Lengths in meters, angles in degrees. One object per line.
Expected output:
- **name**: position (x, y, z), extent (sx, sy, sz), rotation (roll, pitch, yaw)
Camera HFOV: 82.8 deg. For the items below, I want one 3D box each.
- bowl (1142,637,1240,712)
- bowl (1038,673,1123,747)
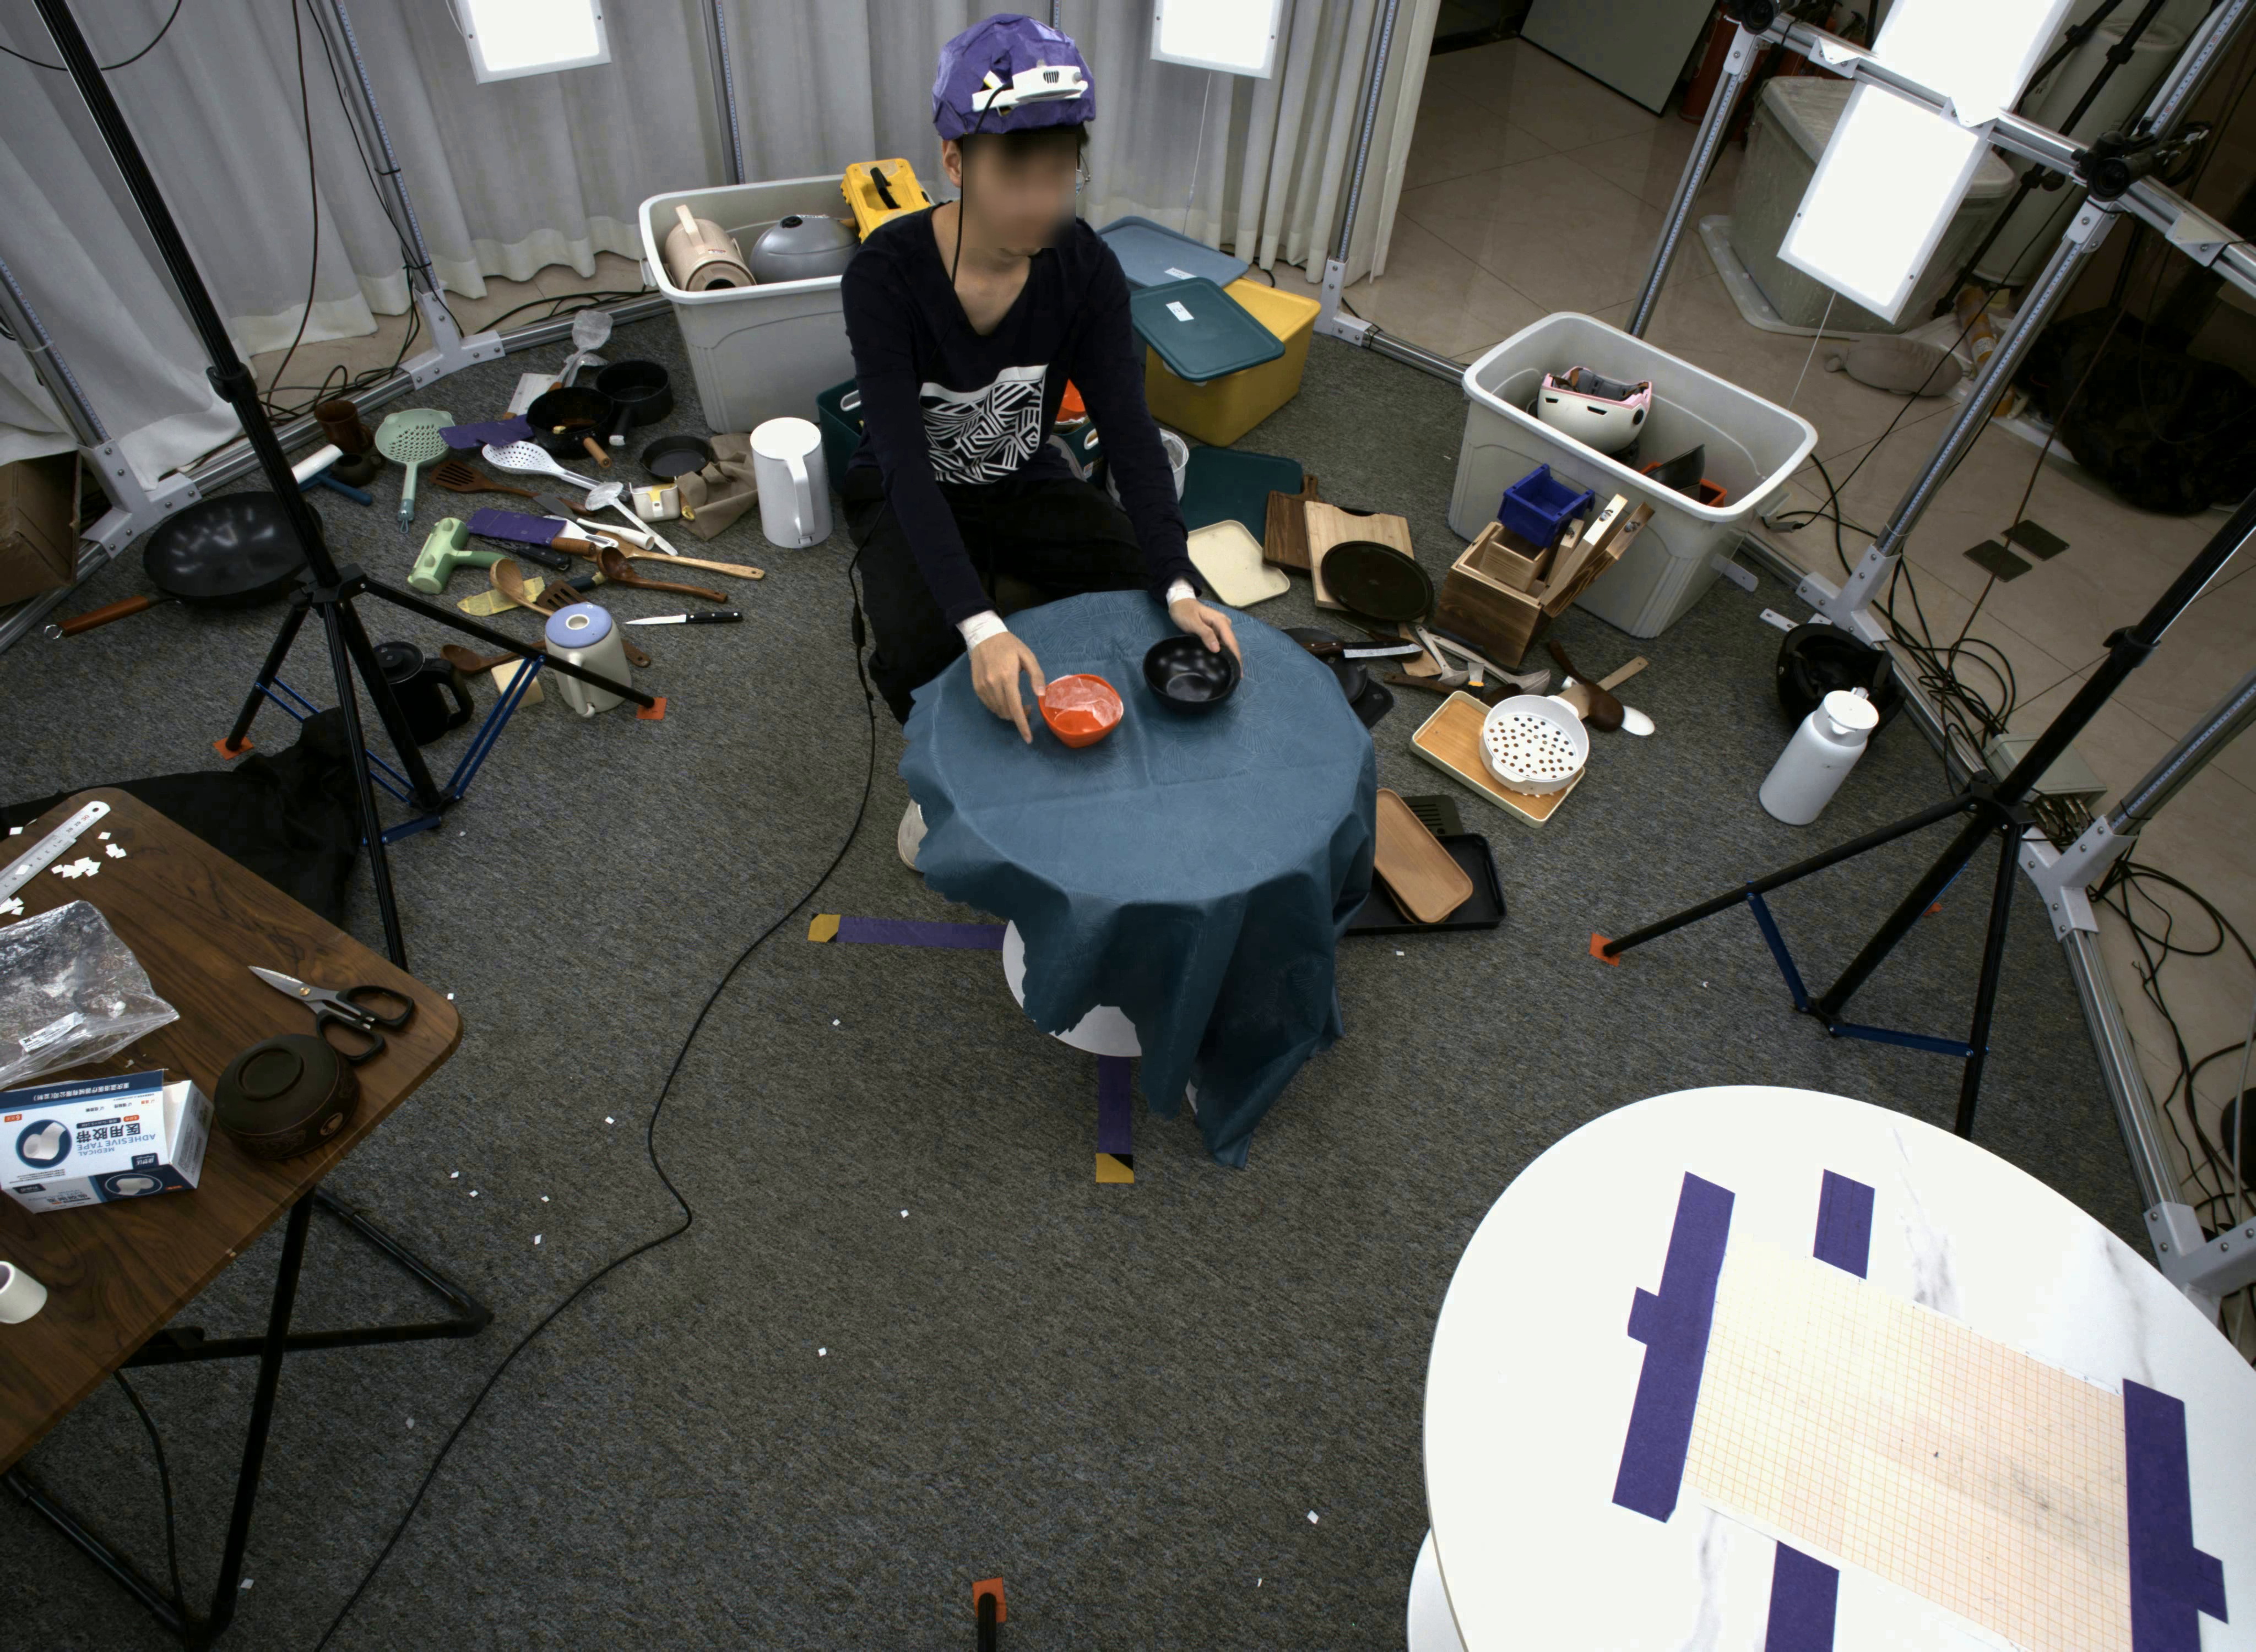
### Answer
- **bowl**: position (0.088, -0.207, 1.823), extent (0.140, 0.048, 0.143), rotation (1, 45, -1)
- **bowl**: position (-0.066, -0.153, 1.762), extent (0.119, 0.050, 0.122), rotation (2, 51, -2)
